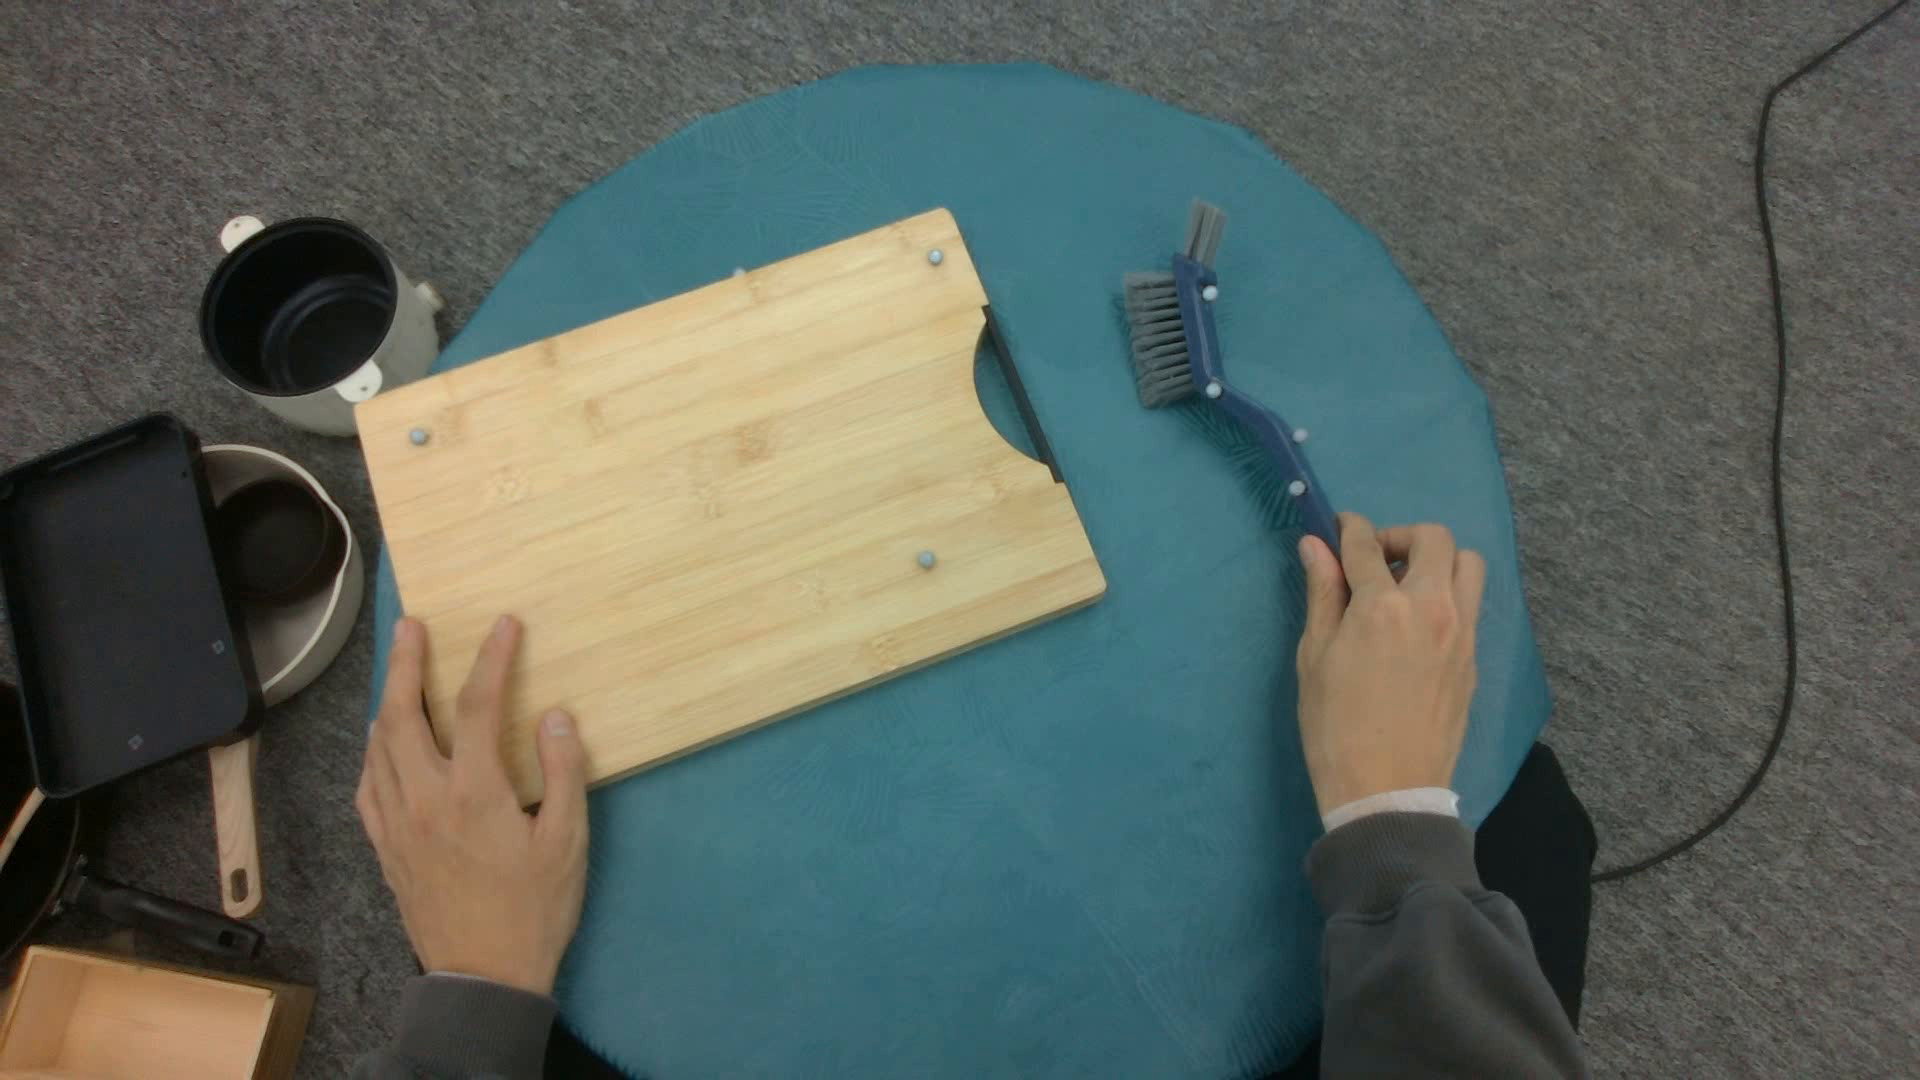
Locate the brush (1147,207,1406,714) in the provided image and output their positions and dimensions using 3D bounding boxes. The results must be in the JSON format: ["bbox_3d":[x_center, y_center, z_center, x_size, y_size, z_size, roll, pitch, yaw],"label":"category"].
[{"bbox_3d":[0.179,-0.043,0.721,0.095,0.033,0.273,-36,72,19],"label":"brush"}]

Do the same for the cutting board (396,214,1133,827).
[{"bbox_3d":[-0.114,-0.020,0.743,0.349,0.023,0.251,-21,73,-5],"label":"cutting board"}]
